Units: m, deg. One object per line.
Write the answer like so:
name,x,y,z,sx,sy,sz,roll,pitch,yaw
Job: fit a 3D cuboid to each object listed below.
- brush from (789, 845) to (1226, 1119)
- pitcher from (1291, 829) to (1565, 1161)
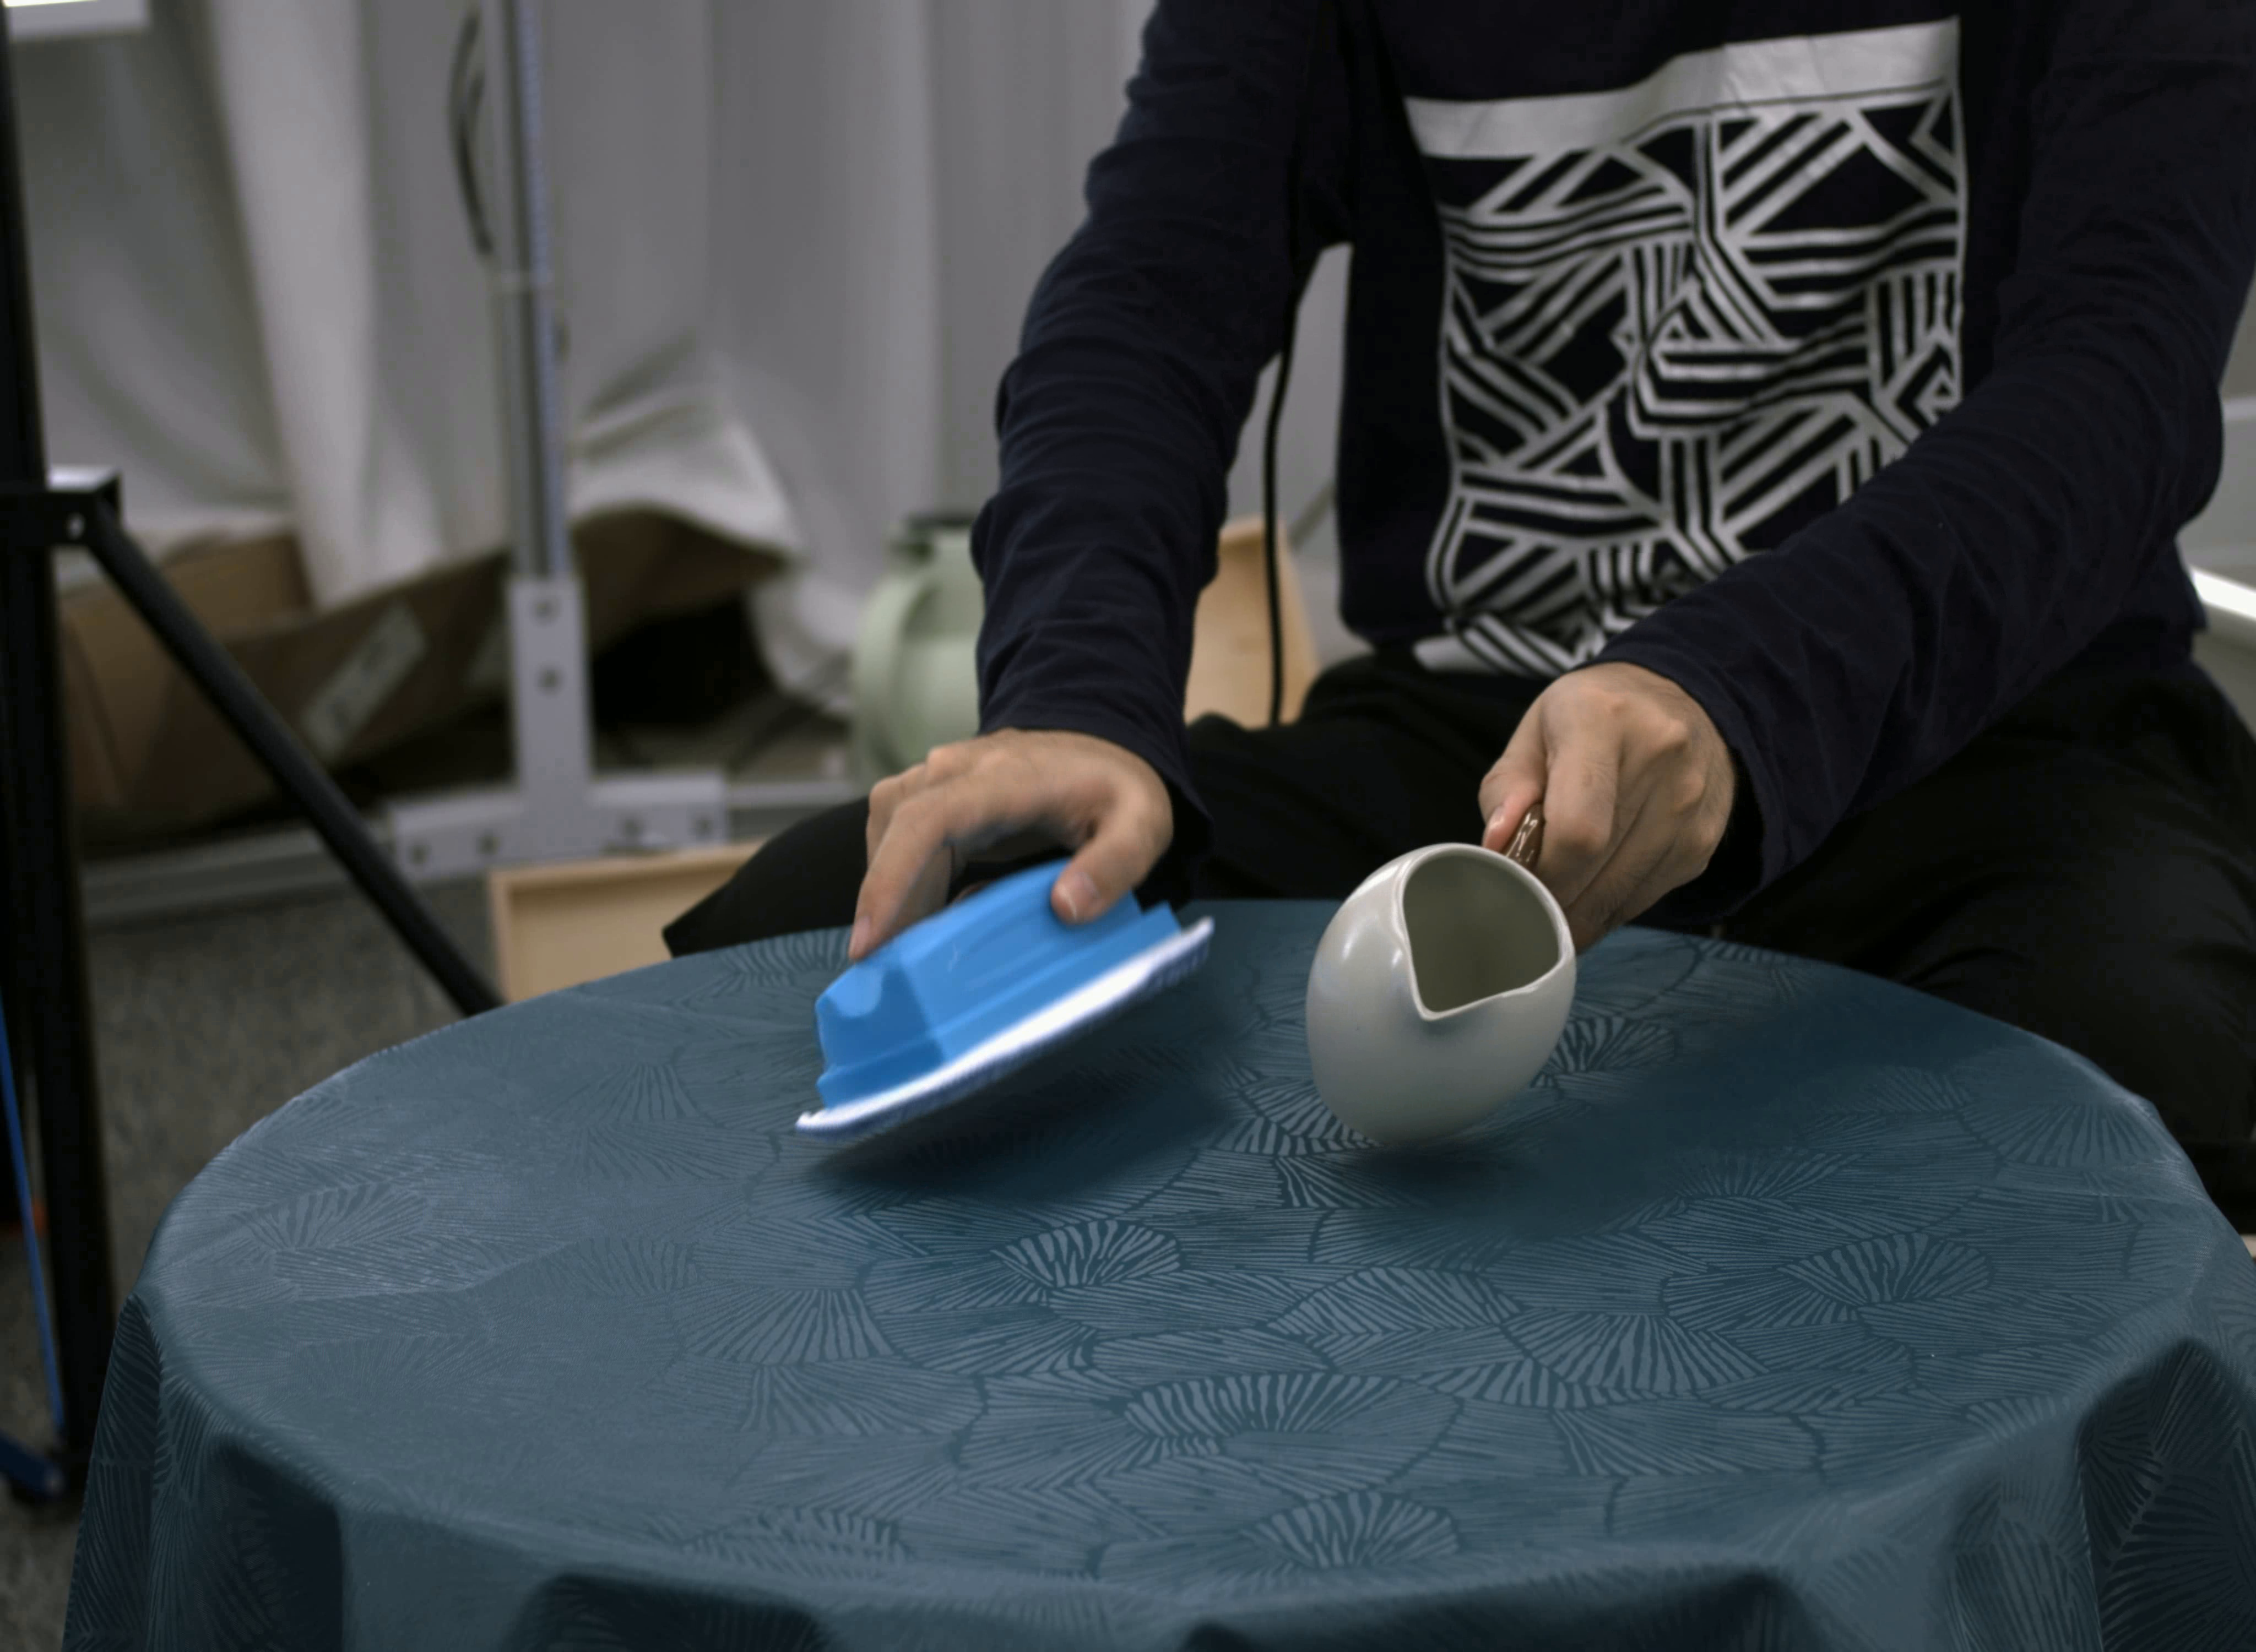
brush,-0.040,0.046,1.622,0.085,0.056,0.141,-21,3,45
pitcher,0.090,0.052,1.556,0.076,0.088,0.118,36,52,6
